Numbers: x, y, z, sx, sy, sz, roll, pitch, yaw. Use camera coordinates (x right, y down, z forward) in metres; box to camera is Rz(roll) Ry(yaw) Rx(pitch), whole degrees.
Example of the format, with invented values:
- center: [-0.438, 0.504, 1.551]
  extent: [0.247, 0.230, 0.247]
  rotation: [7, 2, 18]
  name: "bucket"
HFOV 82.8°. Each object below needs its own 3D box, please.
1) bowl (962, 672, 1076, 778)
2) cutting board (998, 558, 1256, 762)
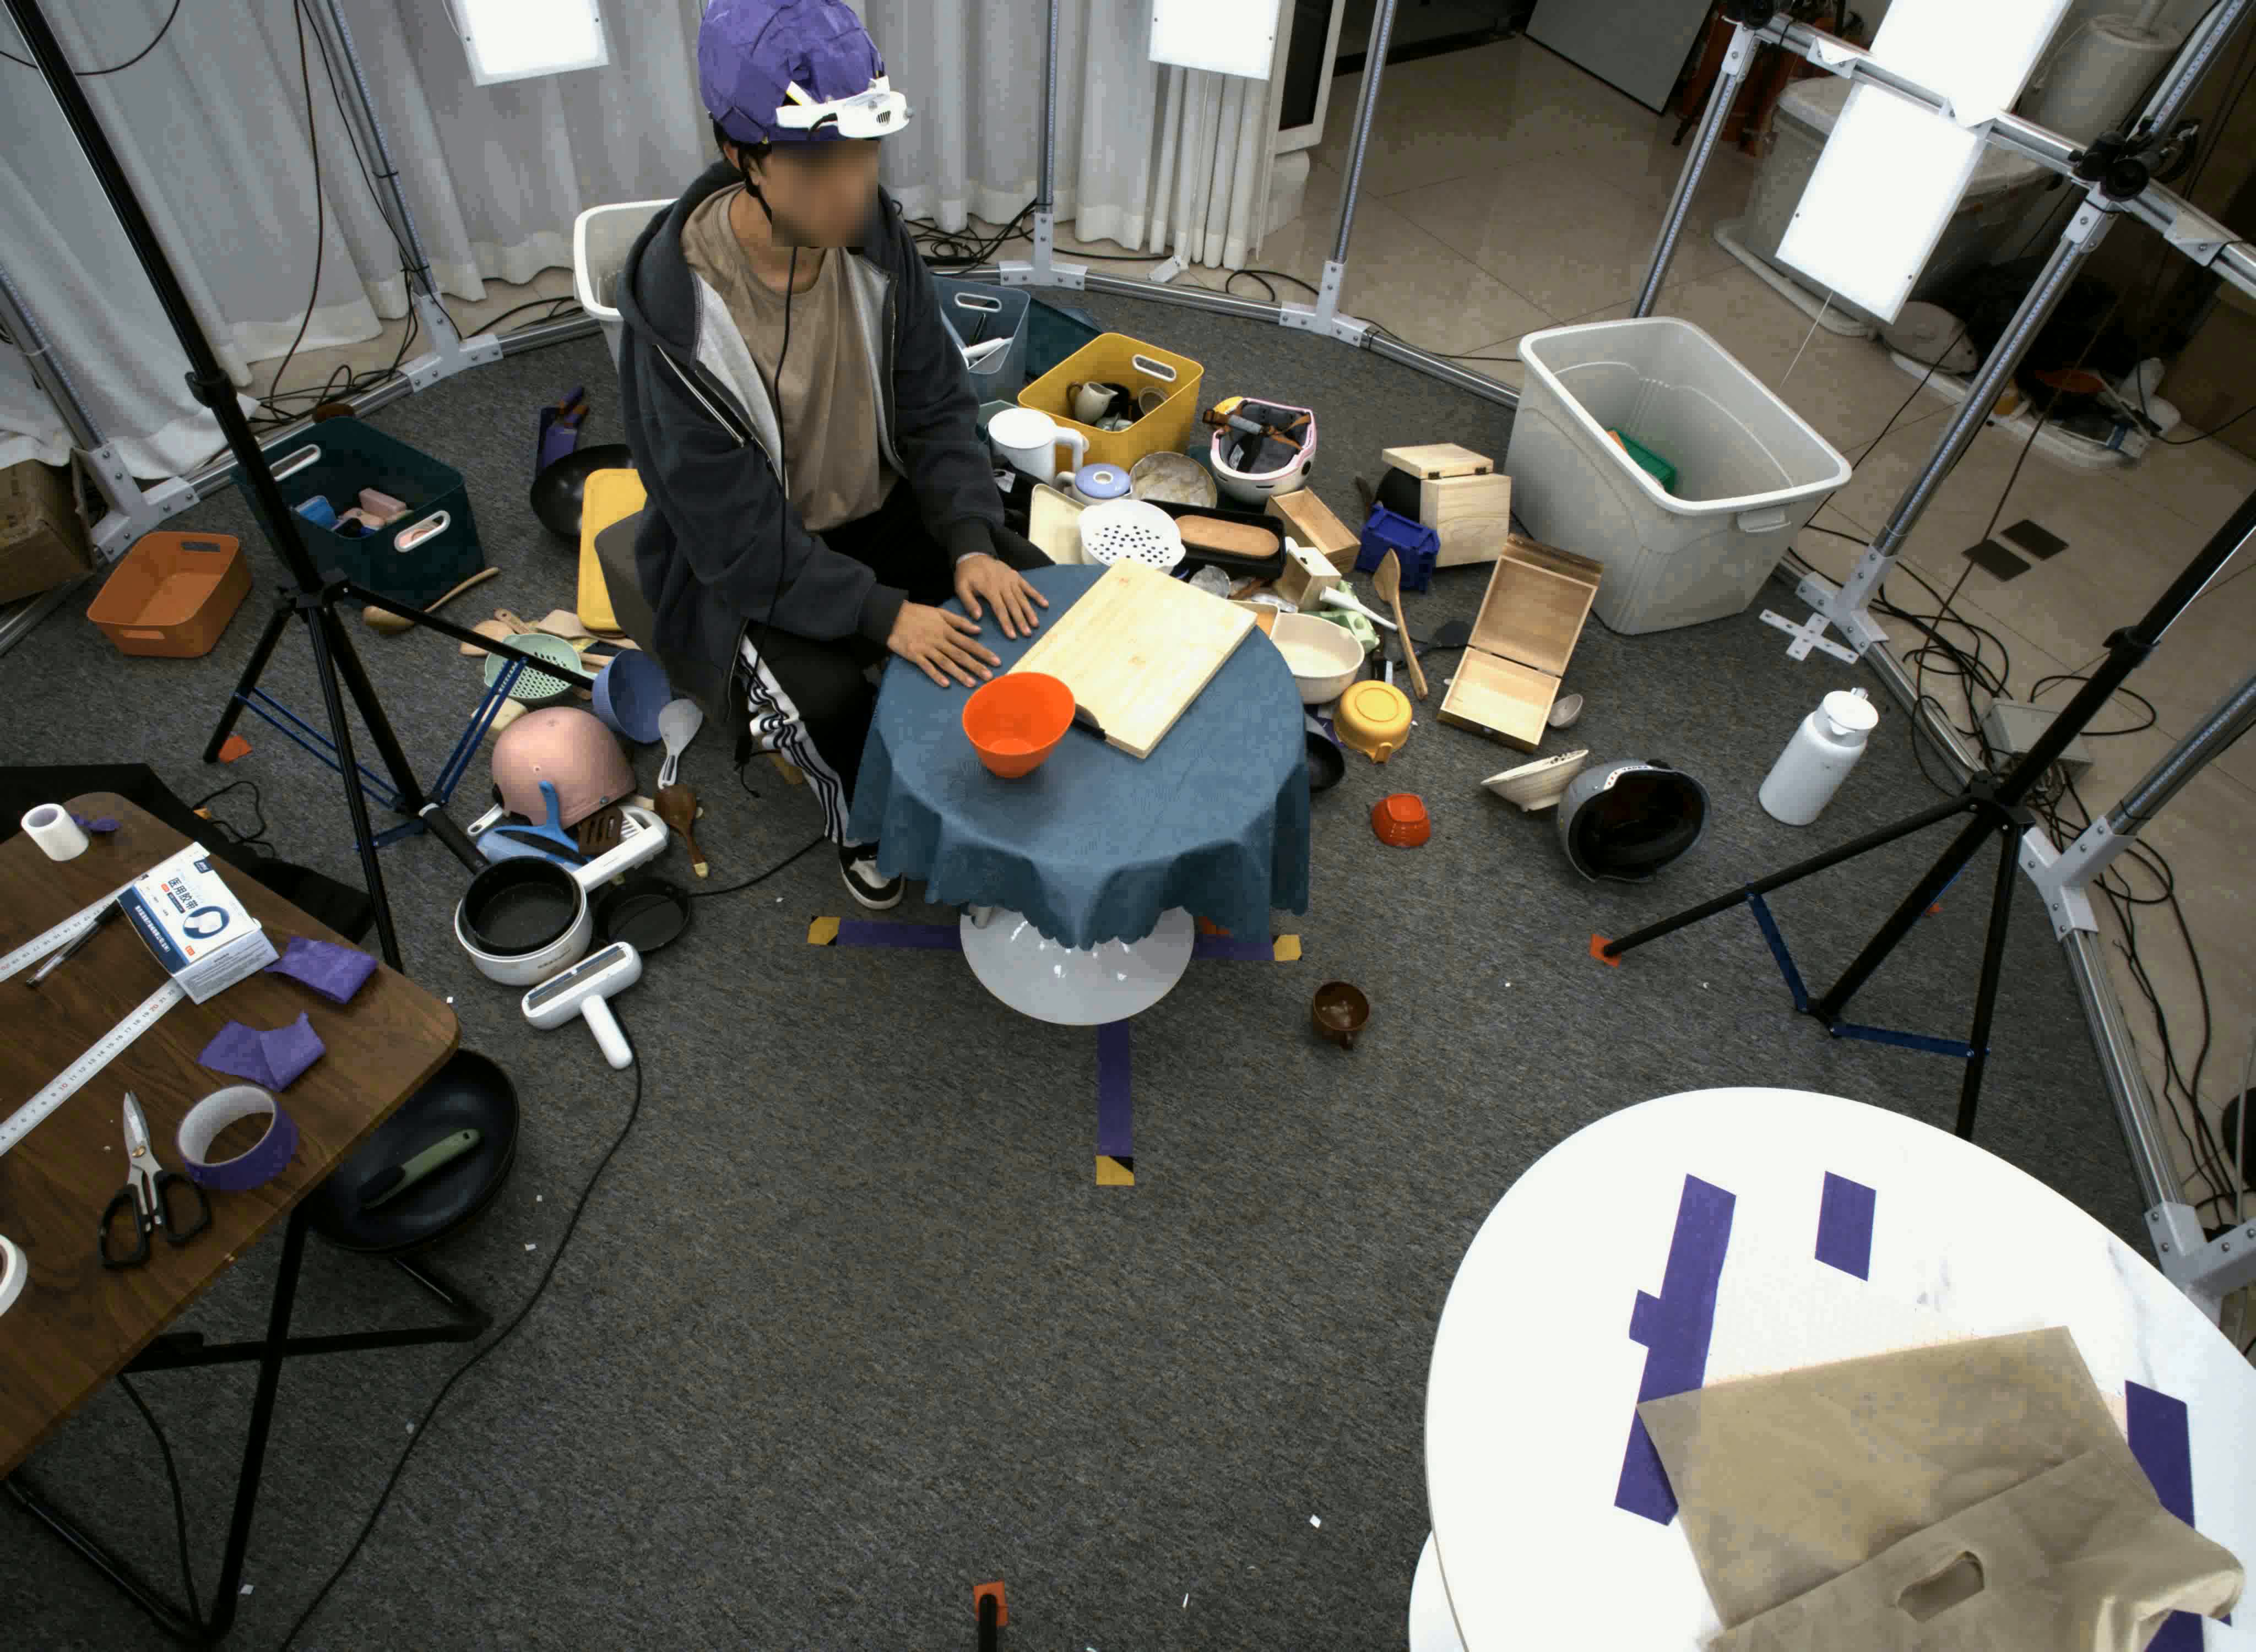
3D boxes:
- center: [-0.144, -0.122, 1.696]
  extent: [0.148, 0.102, 0.152]
  rotation: [2, 50, -3]
  name: "bowl"
- center: [0.003, -0.251, 1.875]
  extent: [0.253, 0.023, 0.354]
  rotation: [25, 52, 18]
  name: "cutting board"
